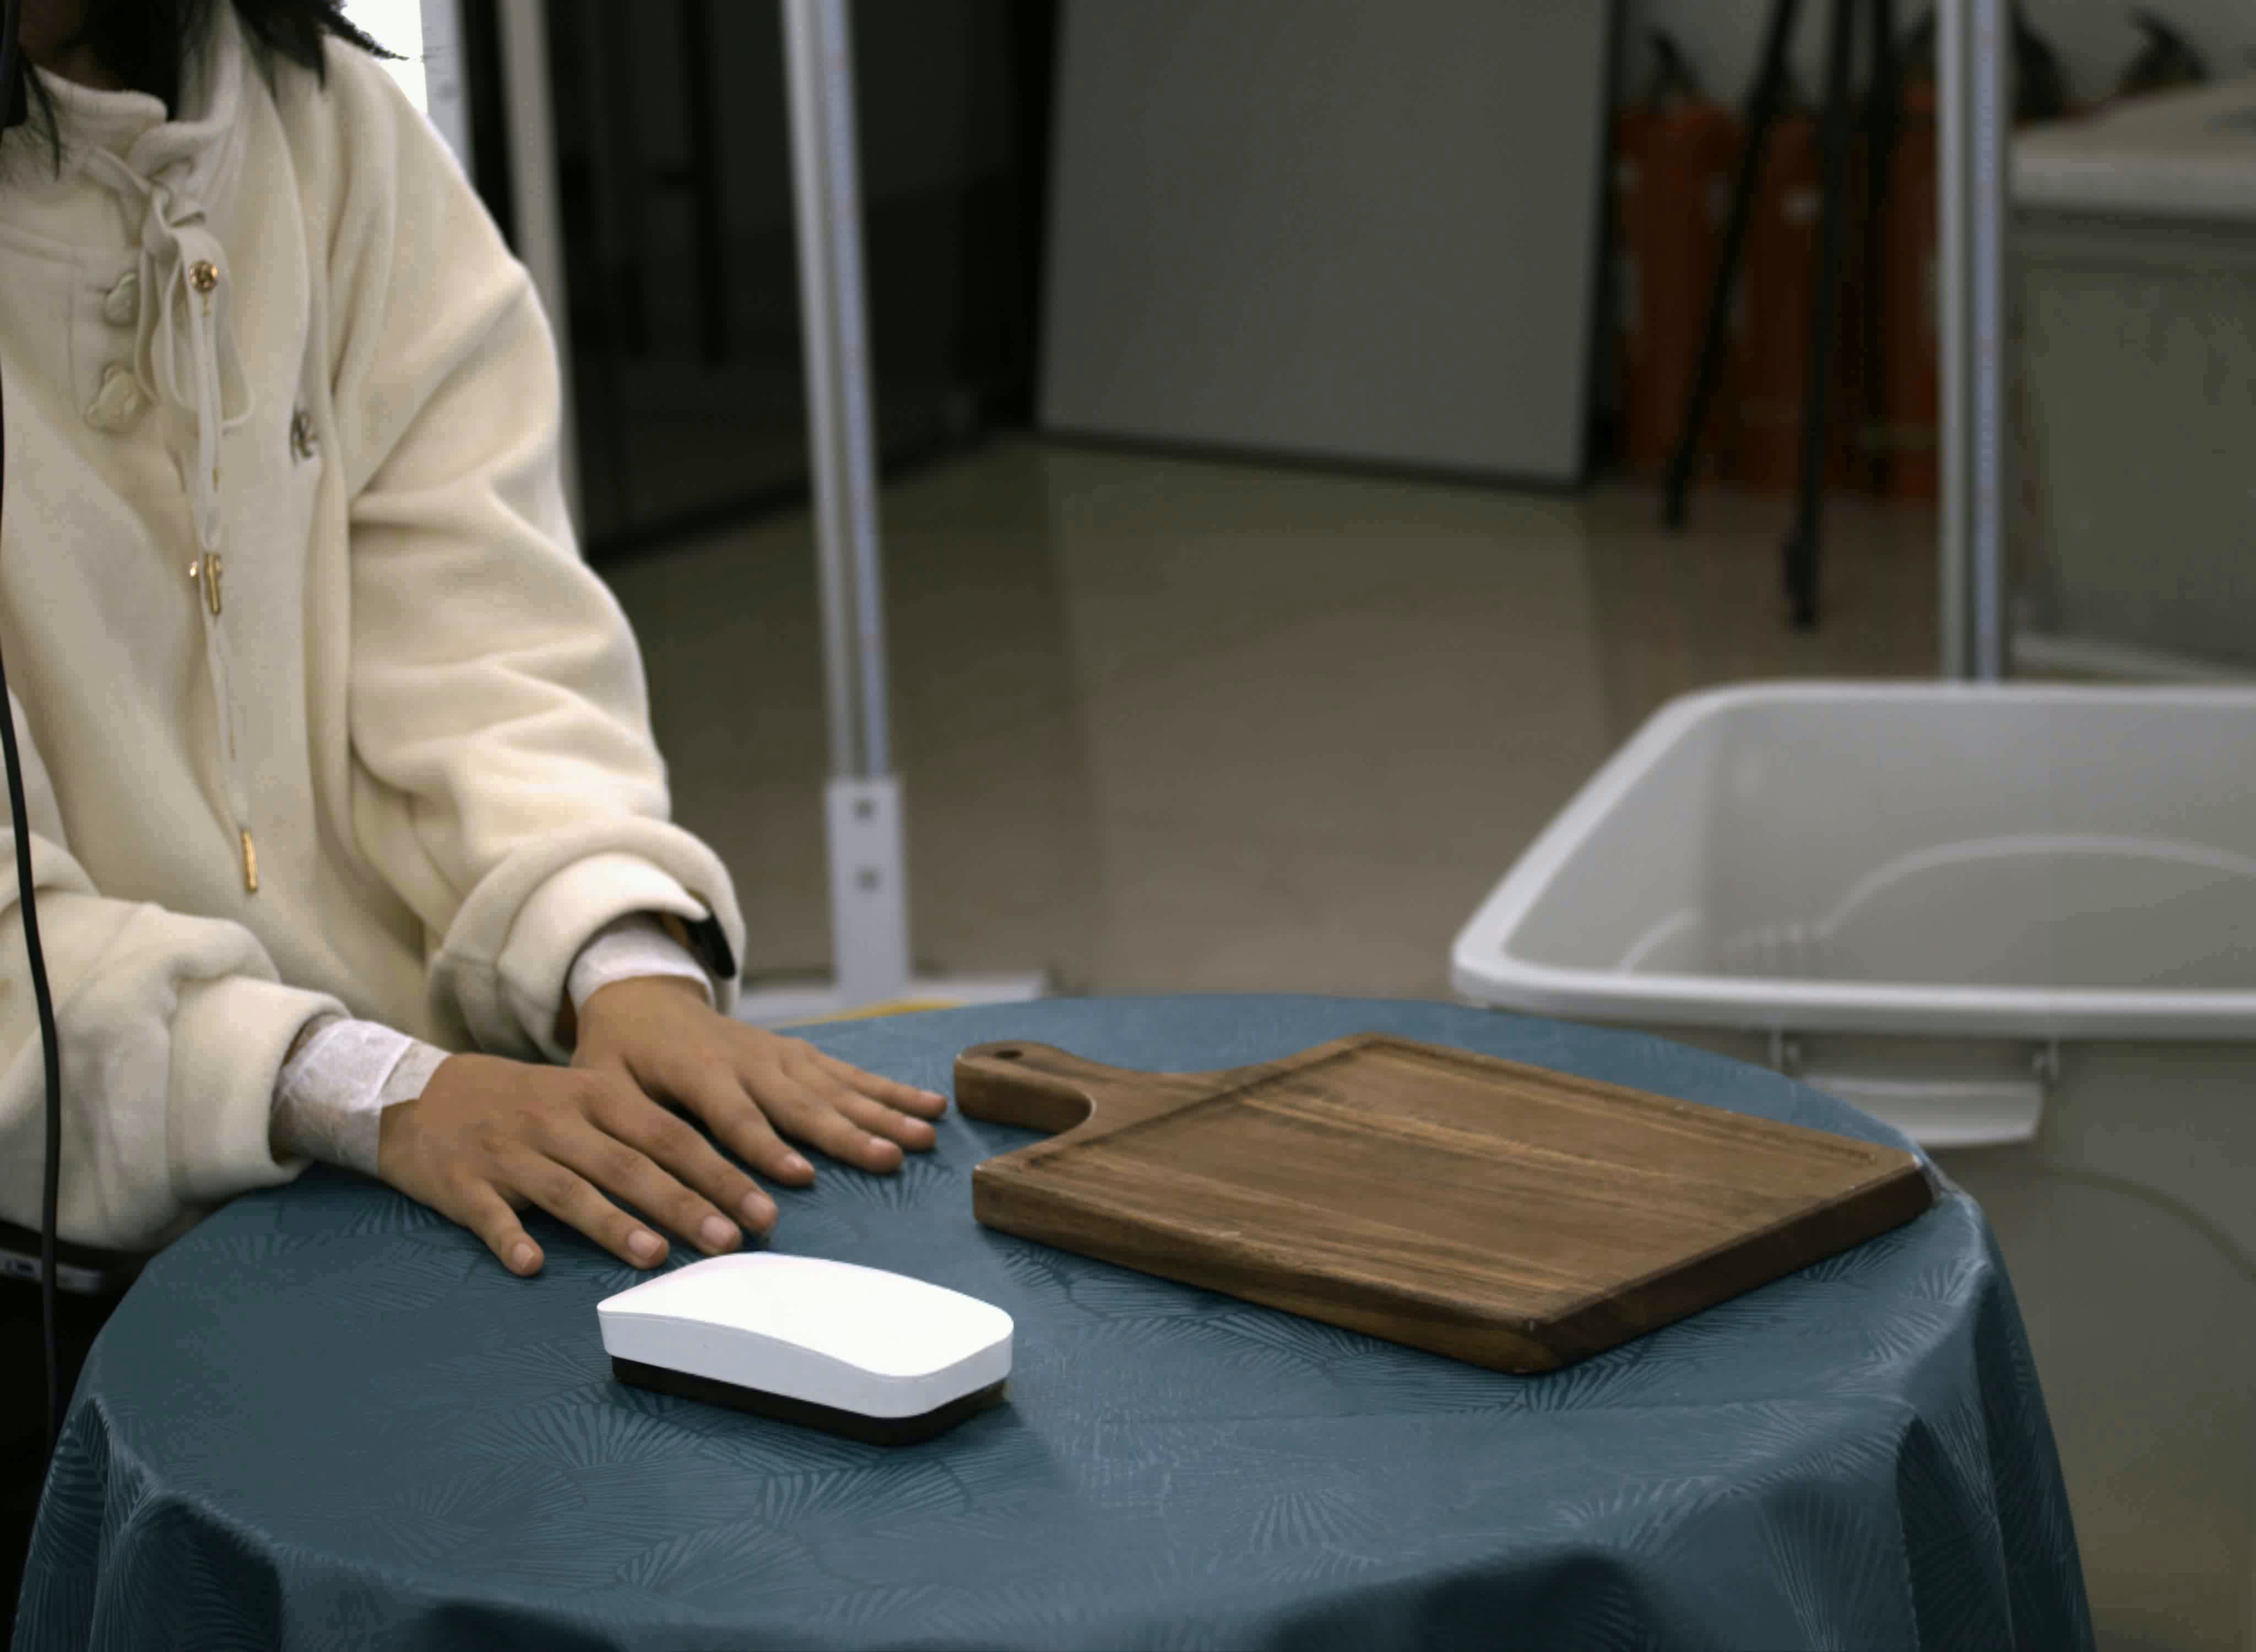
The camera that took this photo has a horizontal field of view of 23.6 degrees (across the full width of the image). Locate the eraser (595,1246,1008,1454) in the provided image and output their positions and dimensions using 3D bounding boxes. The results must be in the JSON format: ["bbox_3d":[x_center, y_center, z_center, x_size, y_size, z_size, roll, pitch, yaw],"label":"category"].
[{"bbox_3d":[-0.096,0.153,1.604,0.132,0.035,0.062,9,19,41],"label":"eraser"}]

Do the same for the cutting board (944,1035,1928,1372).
[{"bbox_3d":[0.067,0.109,1.752,0.197,0.023,0.355,-16,18,-41],"label":"cutting board"}]
